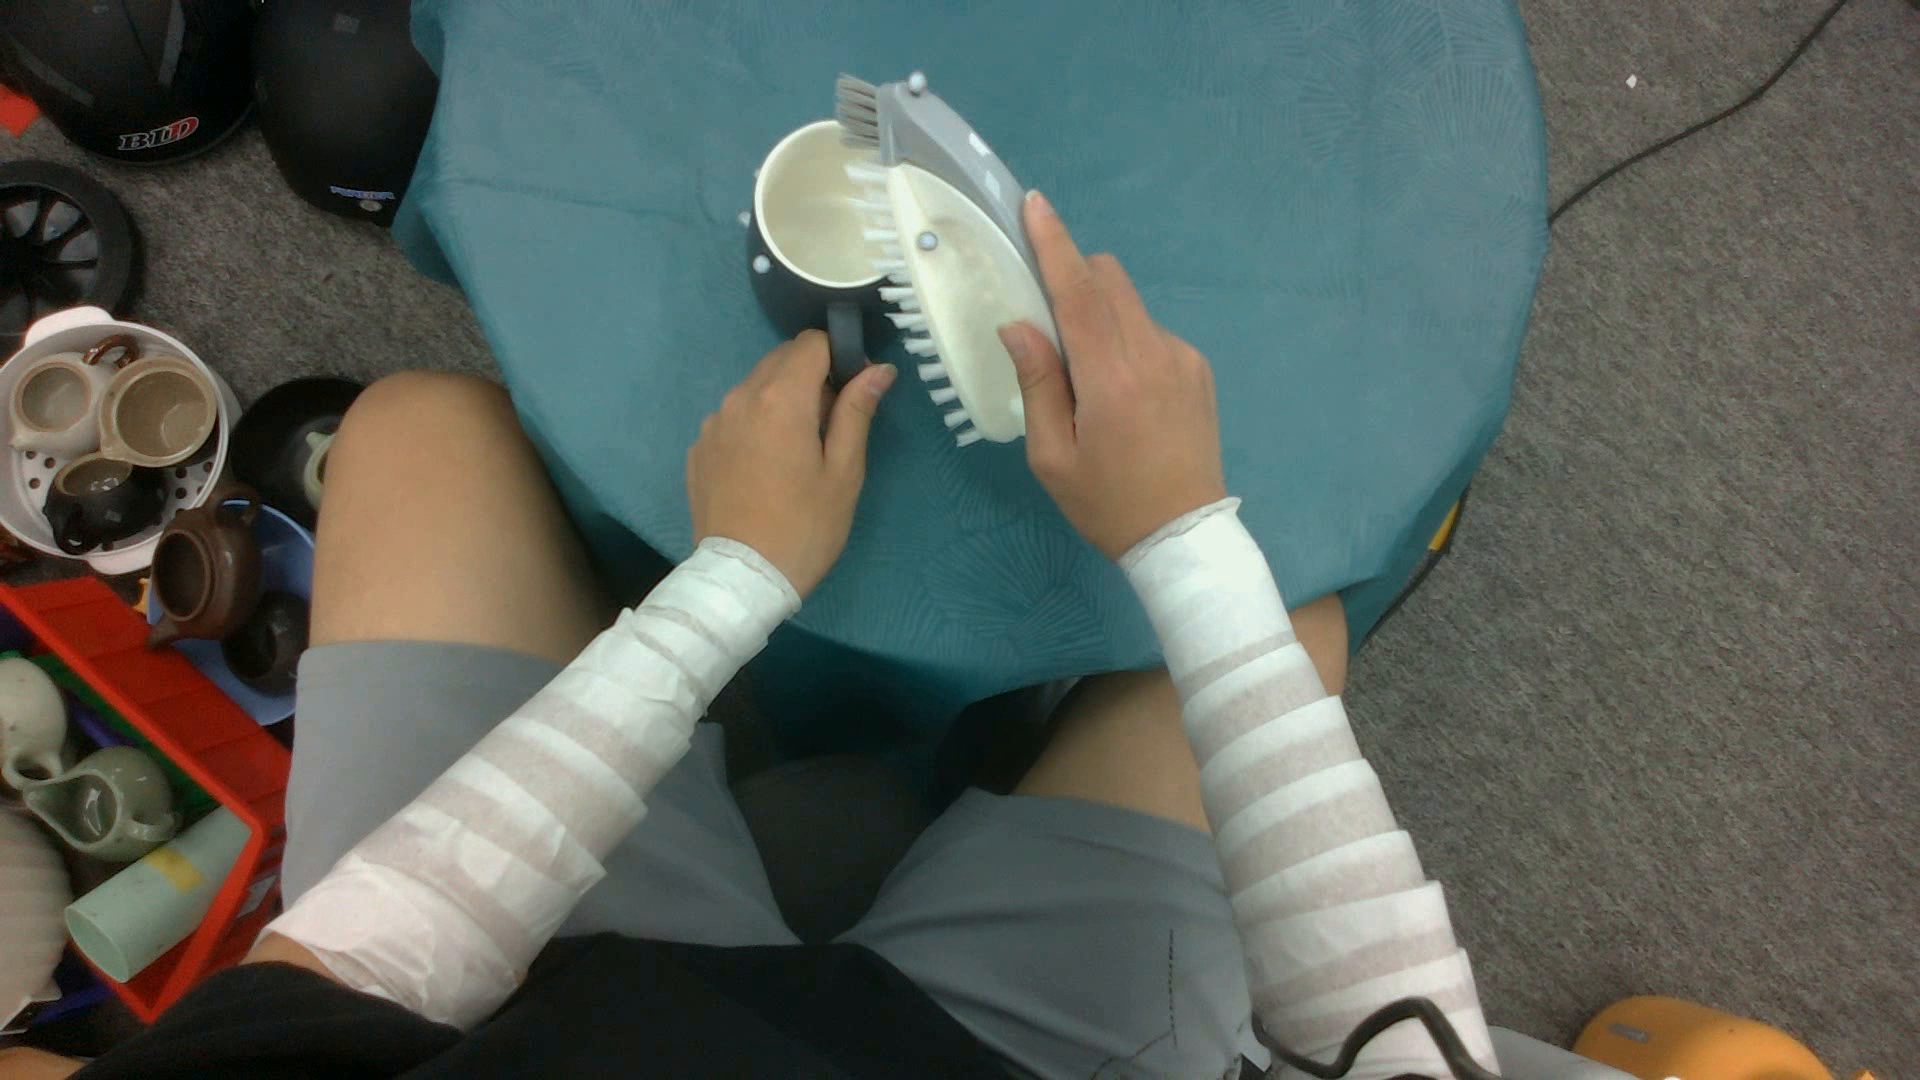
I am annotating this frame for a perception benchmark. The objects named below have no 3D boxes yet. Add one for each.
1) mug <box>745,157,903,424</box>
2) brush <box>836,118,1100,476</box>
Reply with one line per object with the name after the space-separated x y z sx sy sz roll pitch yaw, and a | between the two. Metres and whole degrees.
-0.061 -0.120 0.686 0.093 0.089 0.123 -3 80 -6 | mug
0.007 -0.114 0.622 0.062 0.094 0.175 -41 116 -33 | brush
